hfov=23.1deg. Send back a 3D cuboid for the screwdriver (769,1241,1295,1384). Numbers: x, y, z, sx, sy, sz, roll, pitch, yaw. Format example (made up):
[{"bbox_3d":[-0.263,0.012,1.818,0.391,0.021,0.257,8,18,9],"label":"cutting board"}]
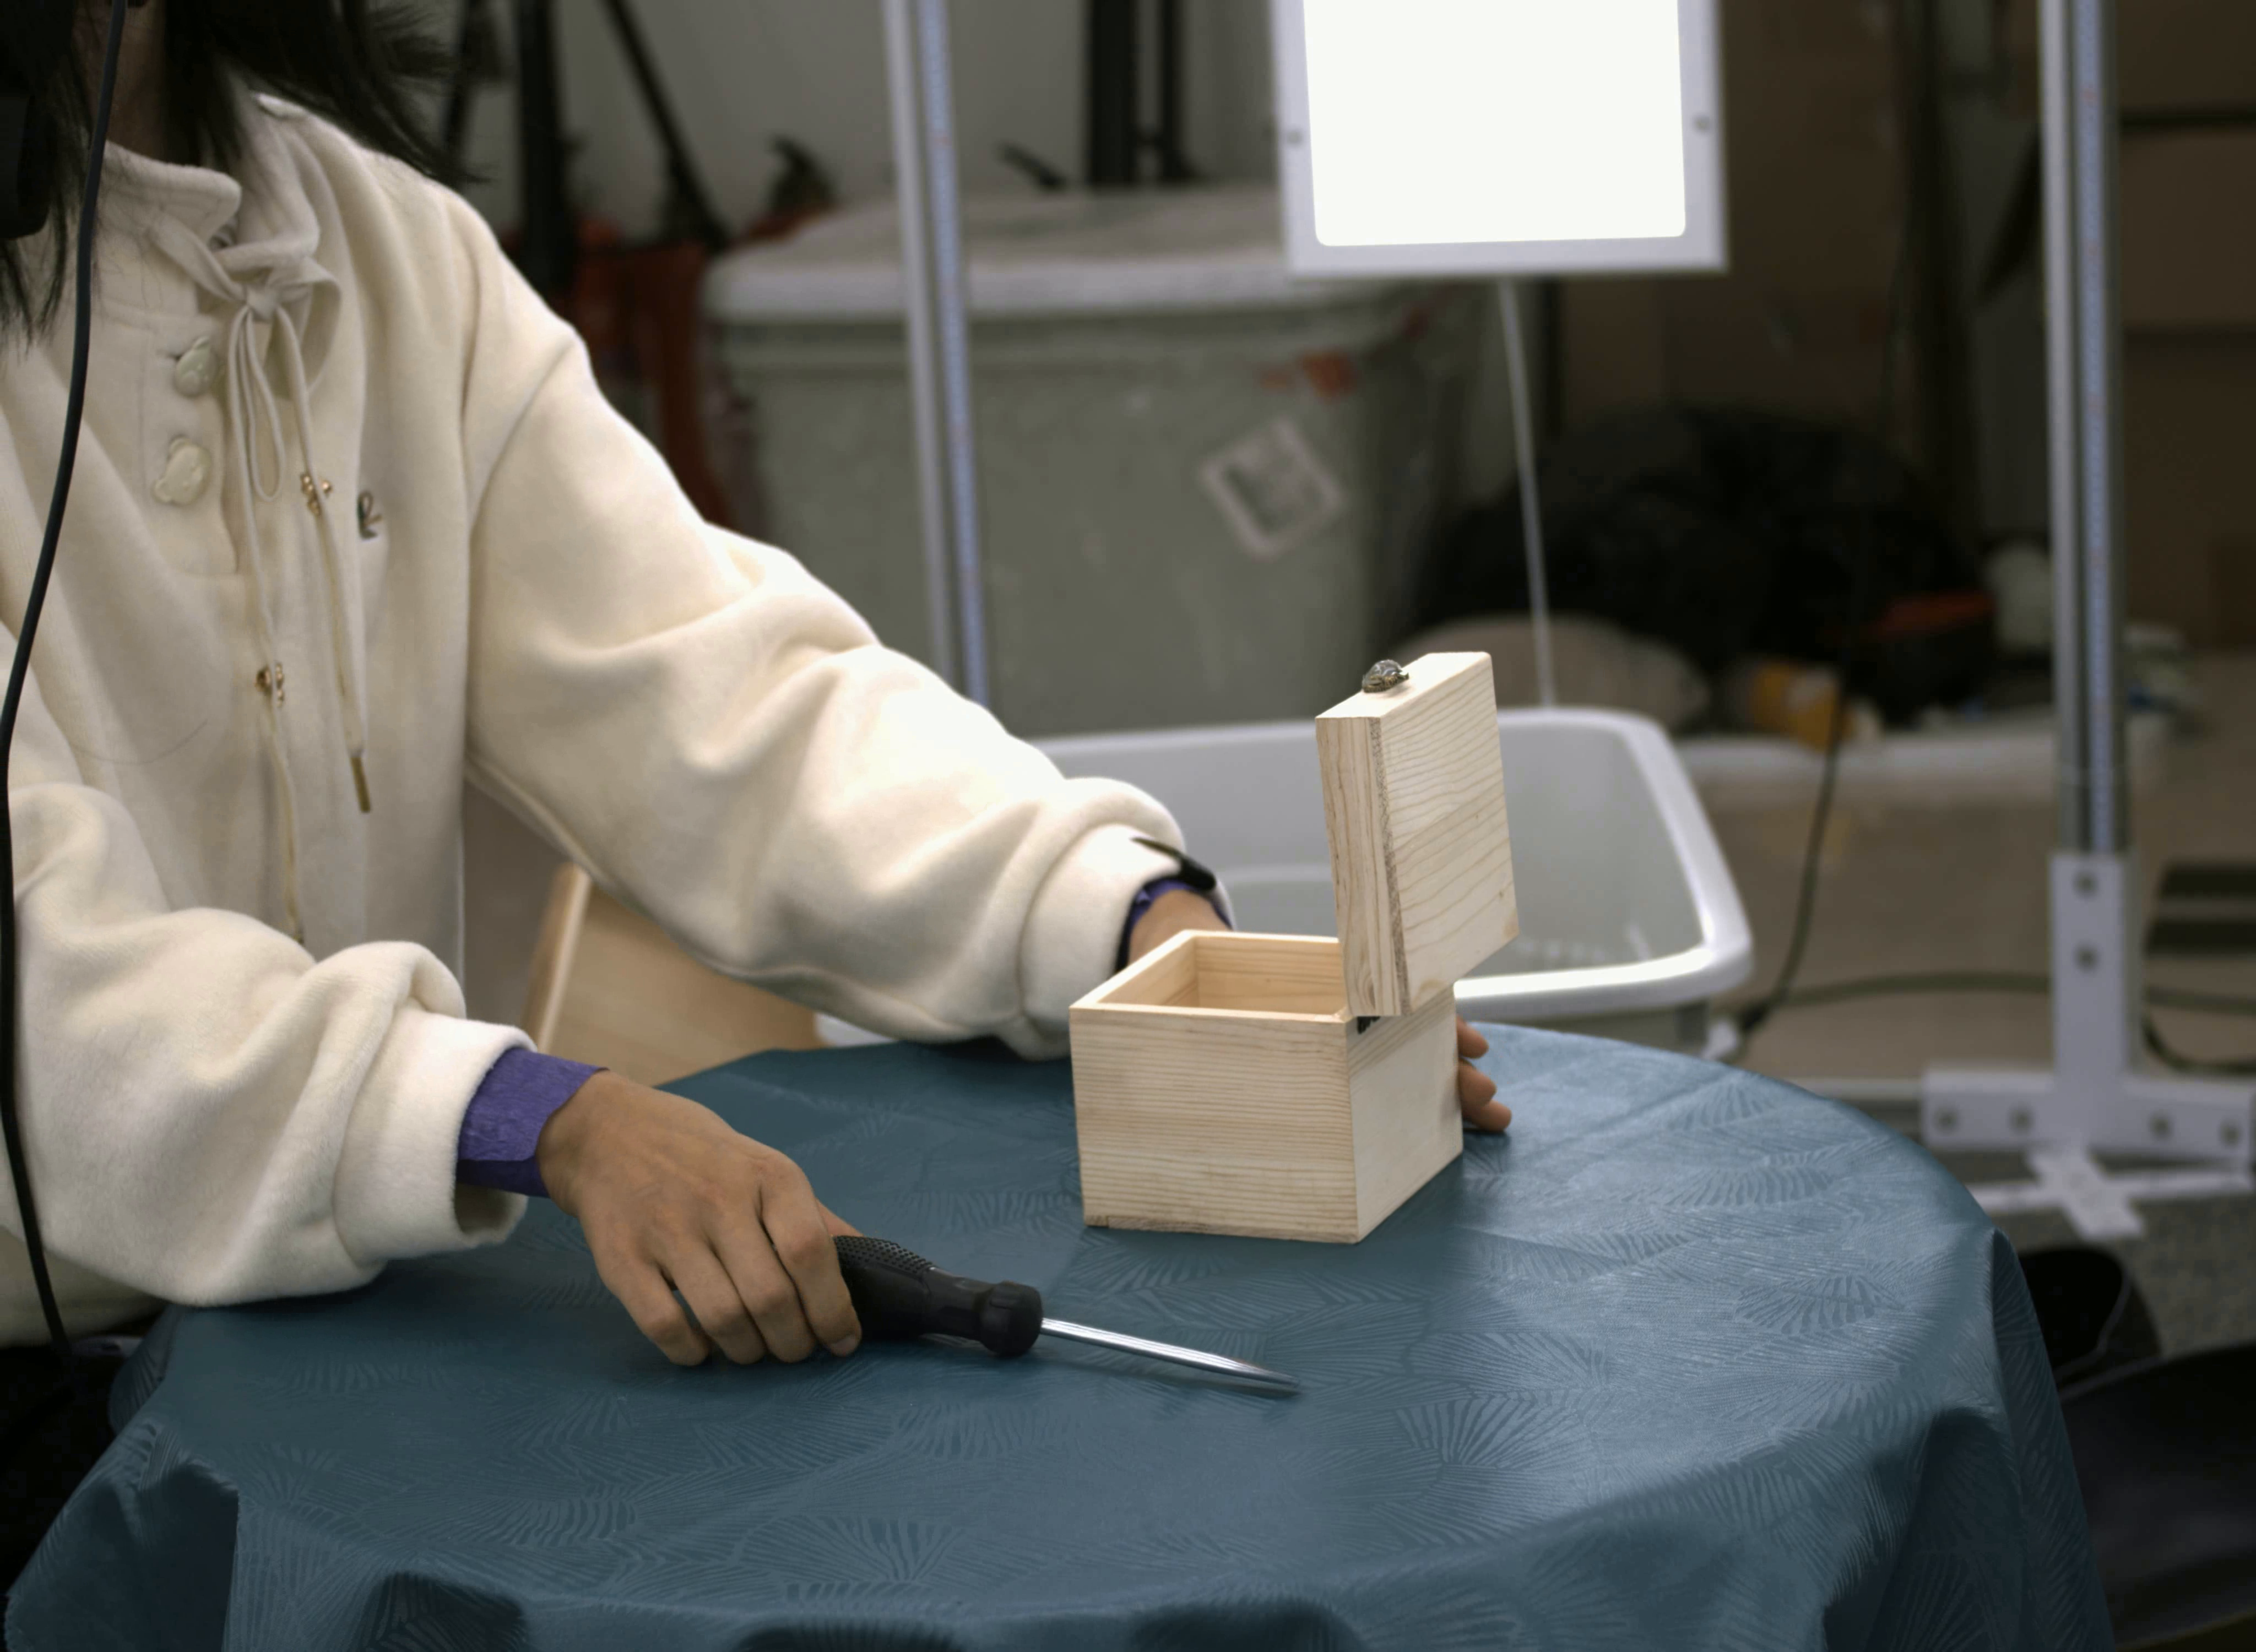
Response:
[{"bbox_3d":[-0.033,0.158,1.737,0.202,0.031,0.031,8,18,38],"label":"screwdriver"}]

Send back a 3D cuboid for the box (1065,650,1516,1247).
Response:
[{"bbox_3d":[0.053,0.036,1.859,0.136,0.185,0.100,3,17,26],"label":"box"}]
